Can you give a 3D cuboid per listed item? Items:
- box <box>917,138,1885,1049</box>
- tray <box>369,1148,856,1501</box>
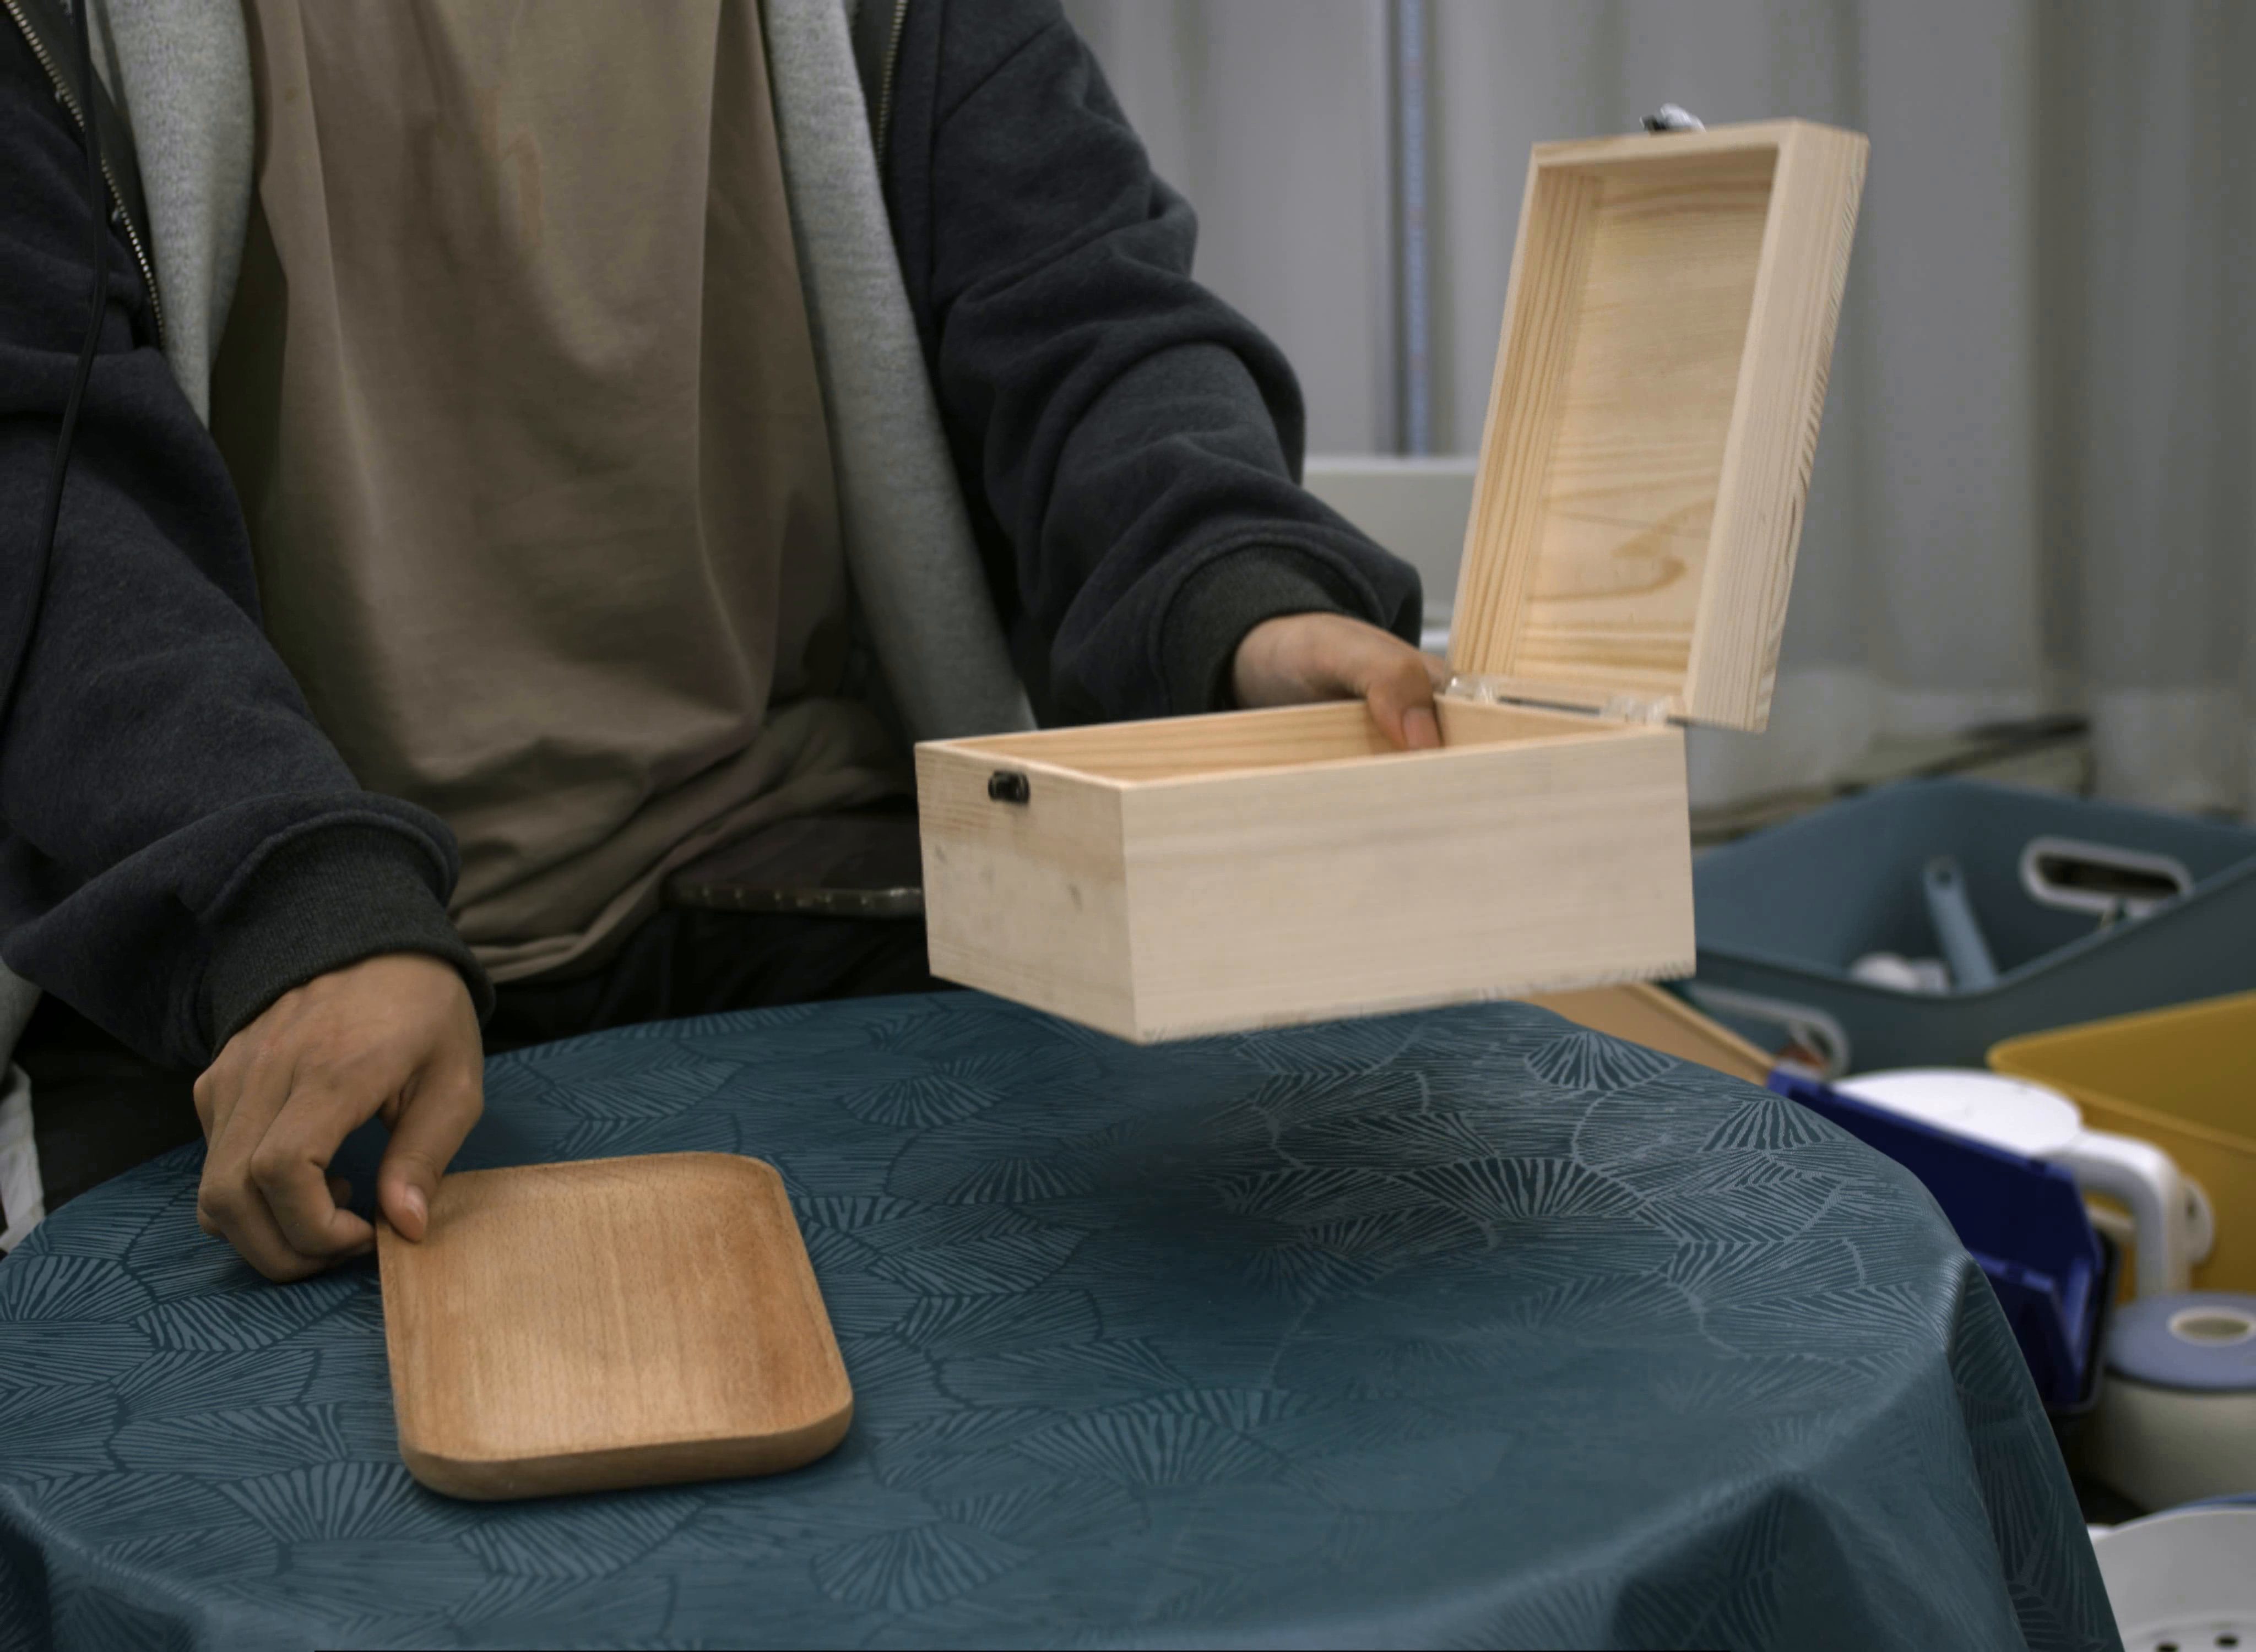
[{"bbox_3d":[0.079,-0.075,1.681,0.264,0.254,0.182,-4,3,-22],"label":"box"},{"bbox_3d":[-0.155,0.143,1.603,0.130,0.023,0.252,-2,14,-9],"label":"tray"}]
